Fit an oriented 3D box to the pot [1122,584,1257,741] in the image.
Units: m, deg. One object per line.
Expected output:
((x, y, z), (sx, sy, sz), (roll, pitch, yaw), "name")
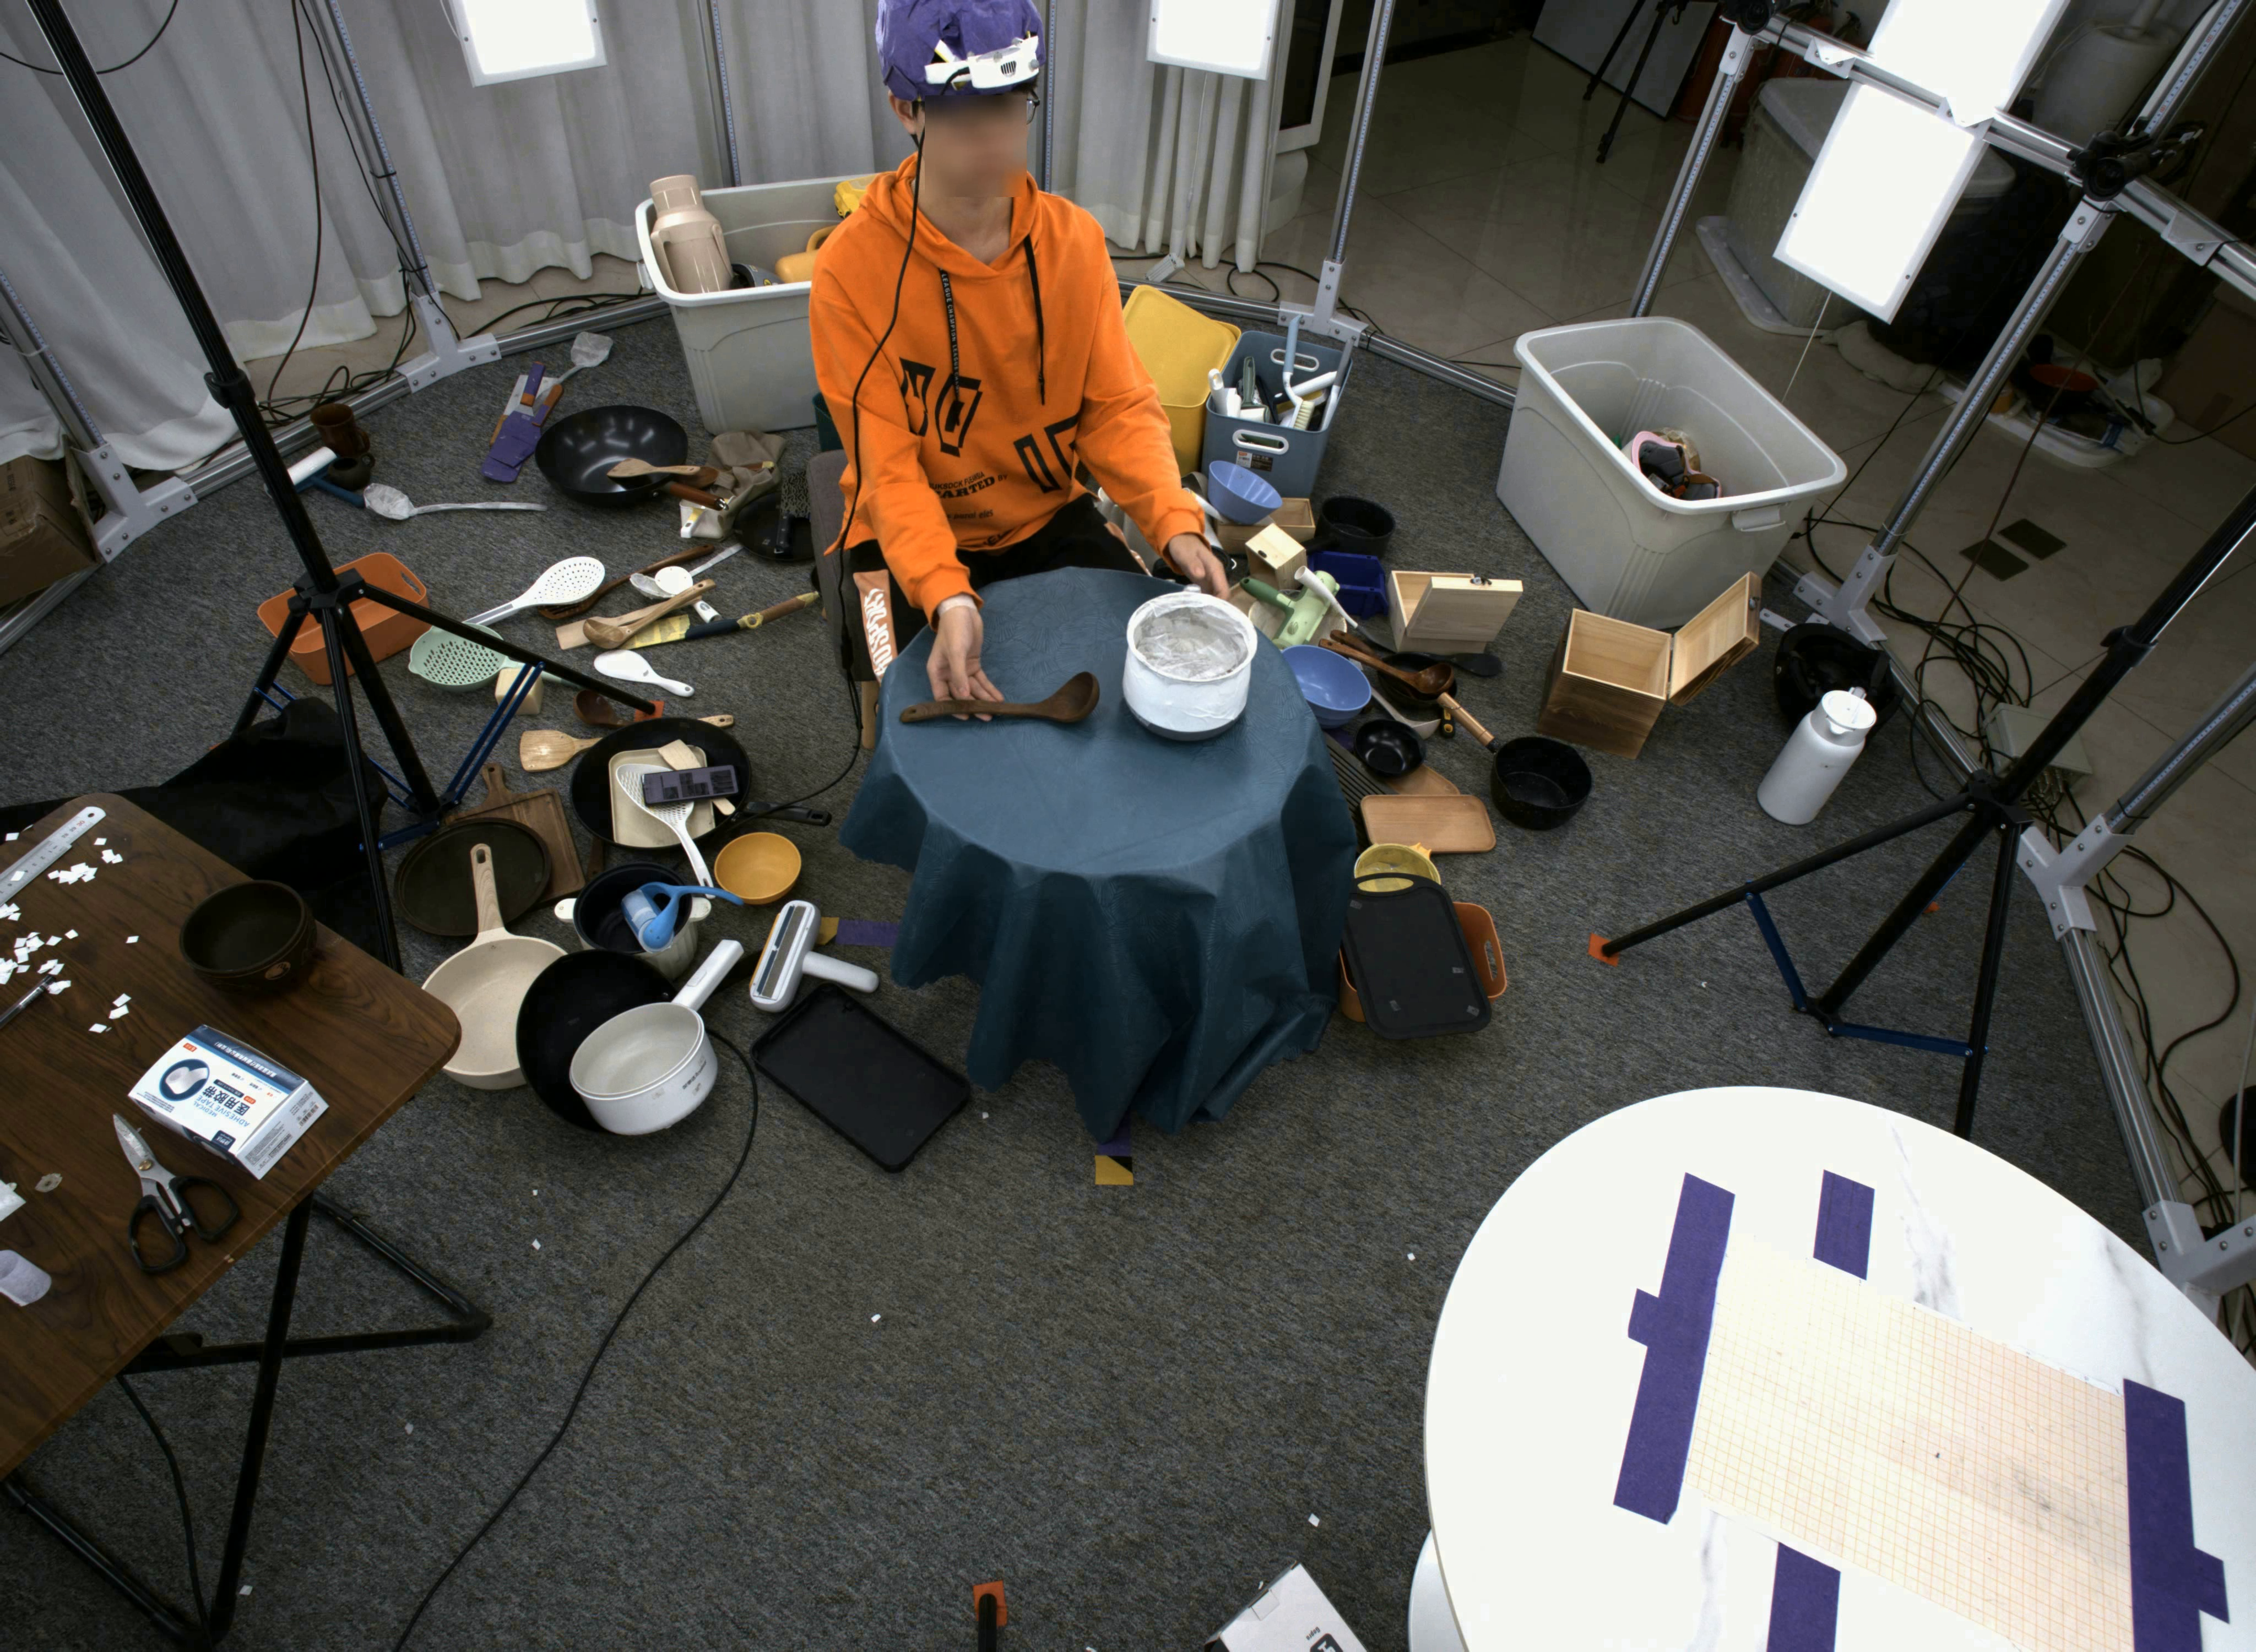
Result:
((0.083, -0.238, 1.792), (0.178, 0.133, 0.239), (3, 49, -2), "pot")

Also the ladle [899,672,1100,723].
((-0.176, -0.175, 1.764), (0.274, 0.069, 0.078), (-1, 47, -6), "ladle")
